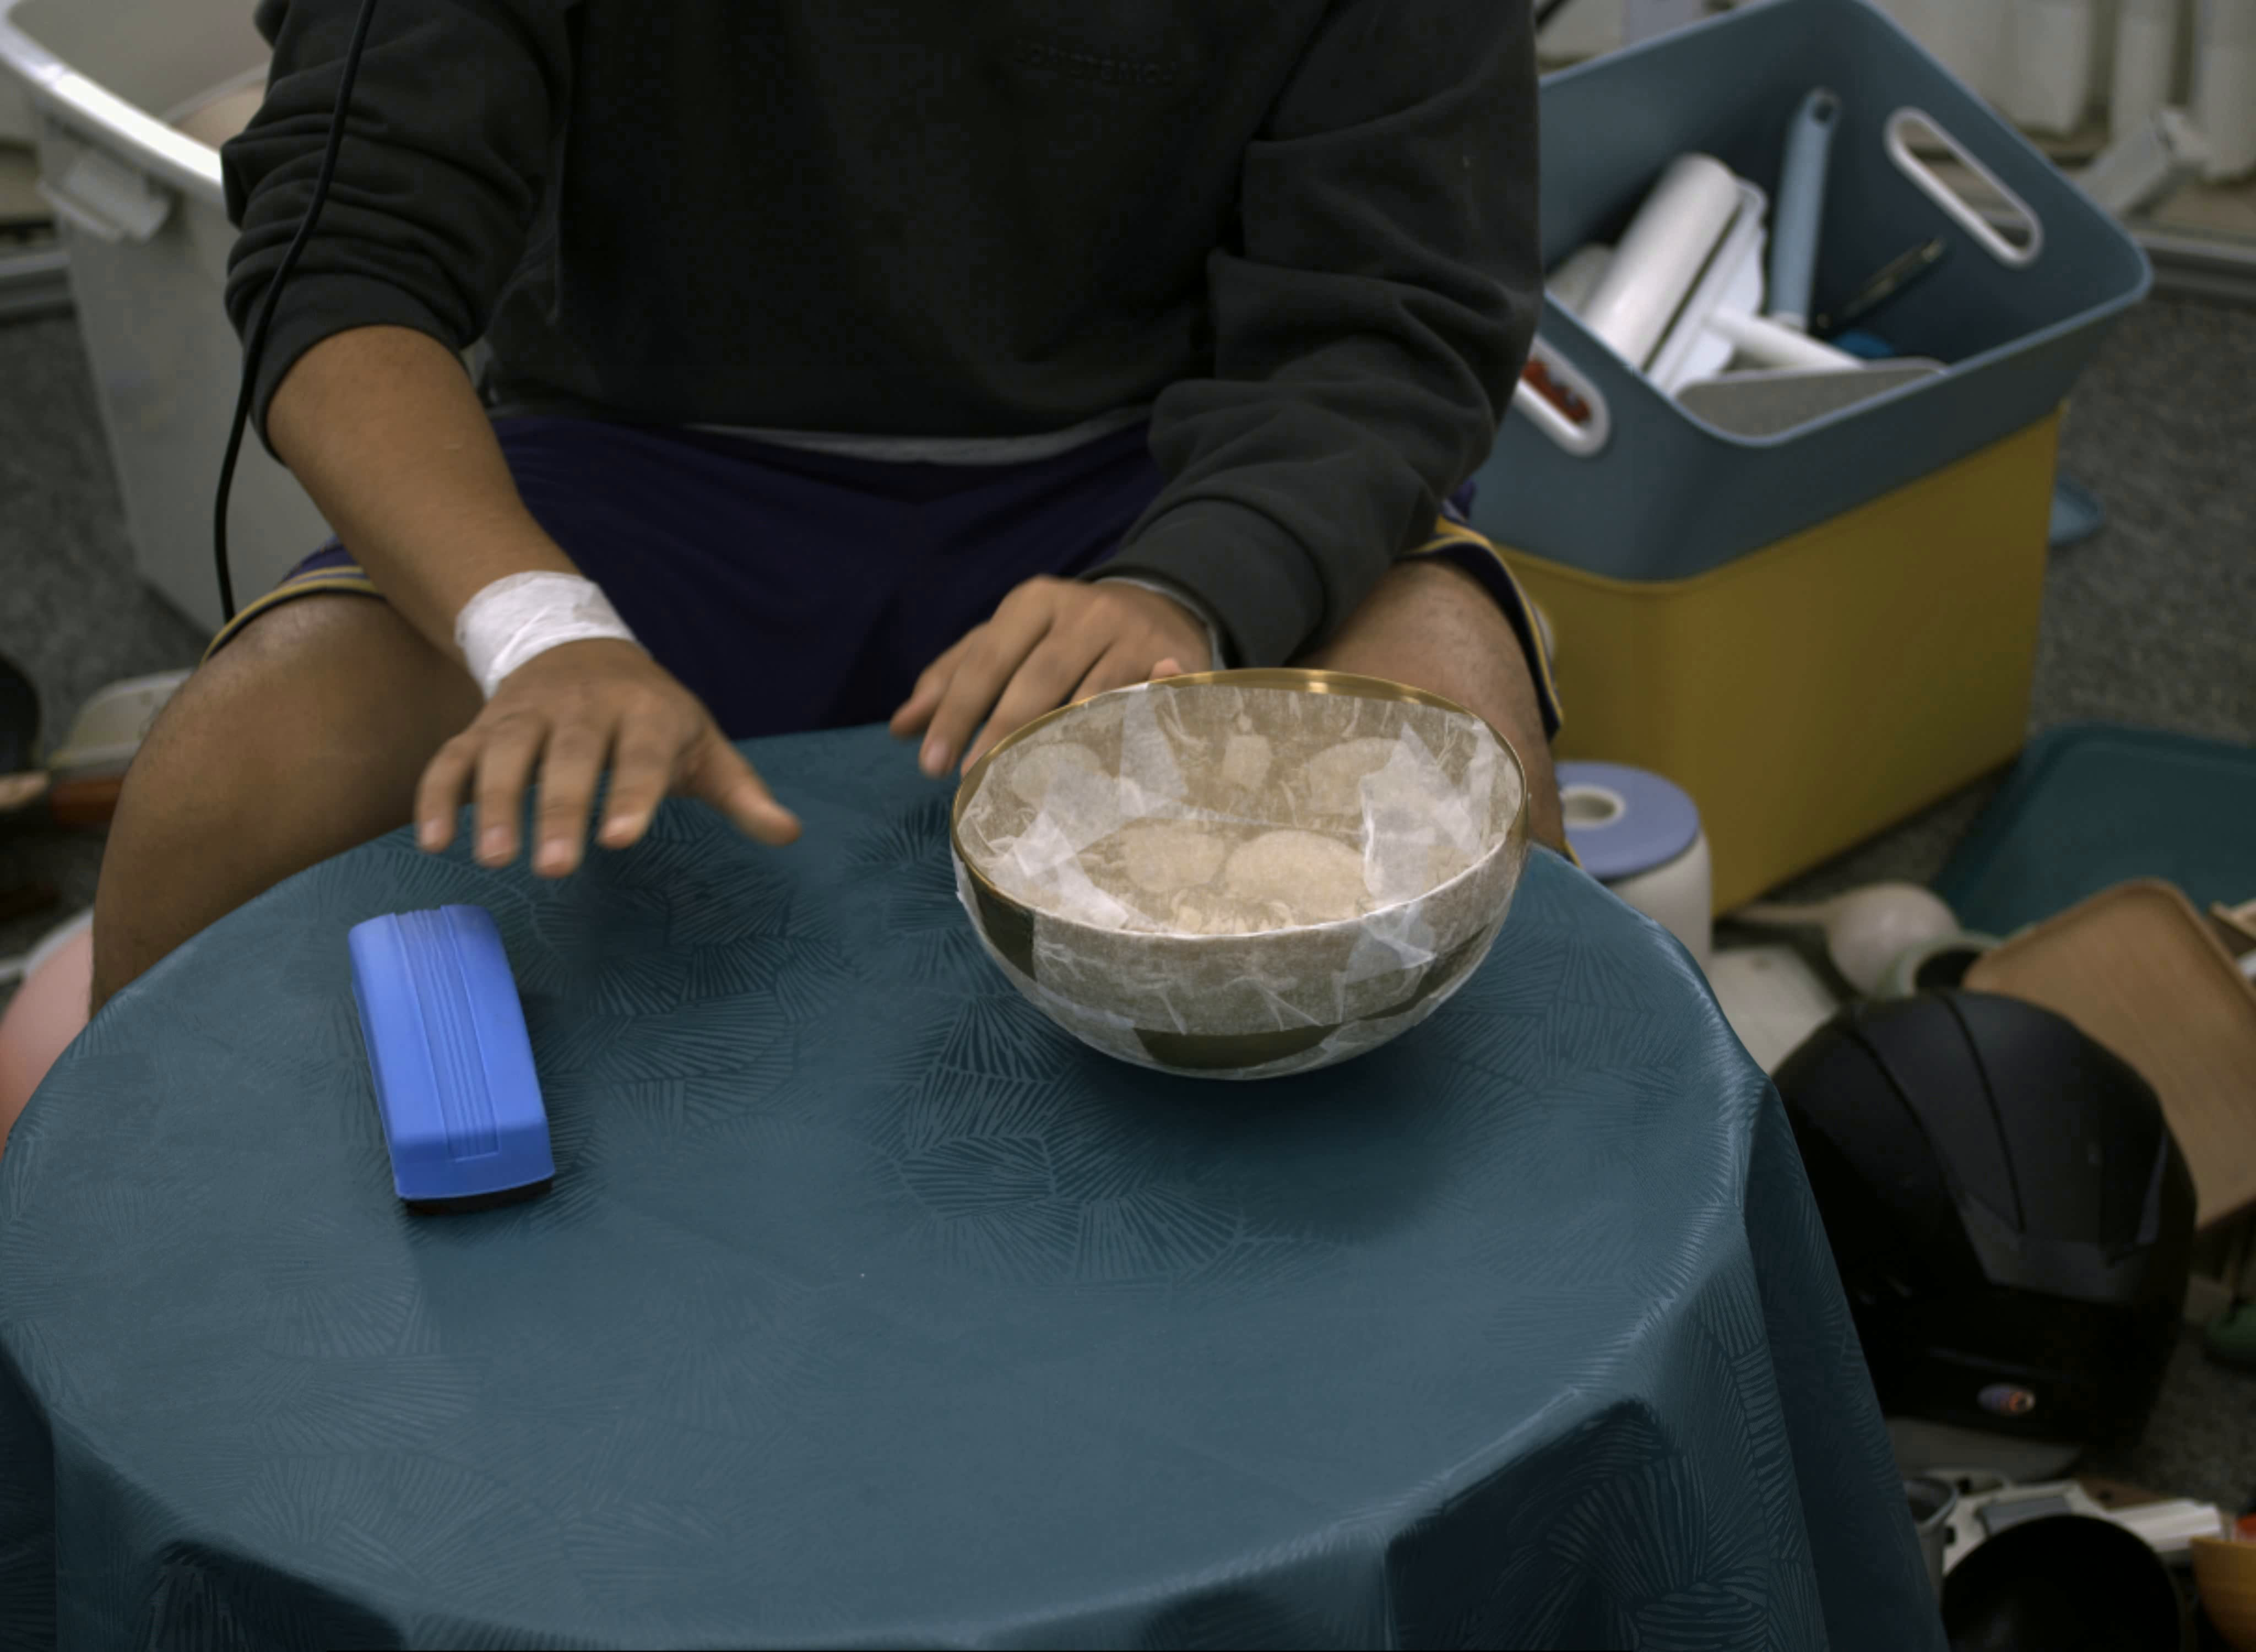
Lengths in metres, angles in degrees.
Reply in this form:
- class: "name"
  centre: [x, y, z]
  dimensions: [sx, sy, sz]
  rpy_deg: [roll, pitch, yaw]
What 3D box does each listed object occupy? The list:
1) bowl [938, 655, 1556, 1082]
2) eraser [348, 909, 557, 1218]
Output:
- class: "bowl"
  centre: [0.042, 0.027, 1.941]
  dimensions: [0.213, 0.093, 0.218]
  rpy_deg: [-4, 27, 2]
- class: "eraser"
  centre: [-0.234, 0.075, 1.928]
  dimensions: [0.054, 0.047, 0.164]
  rpy_deg: [-12, 28, -9]
